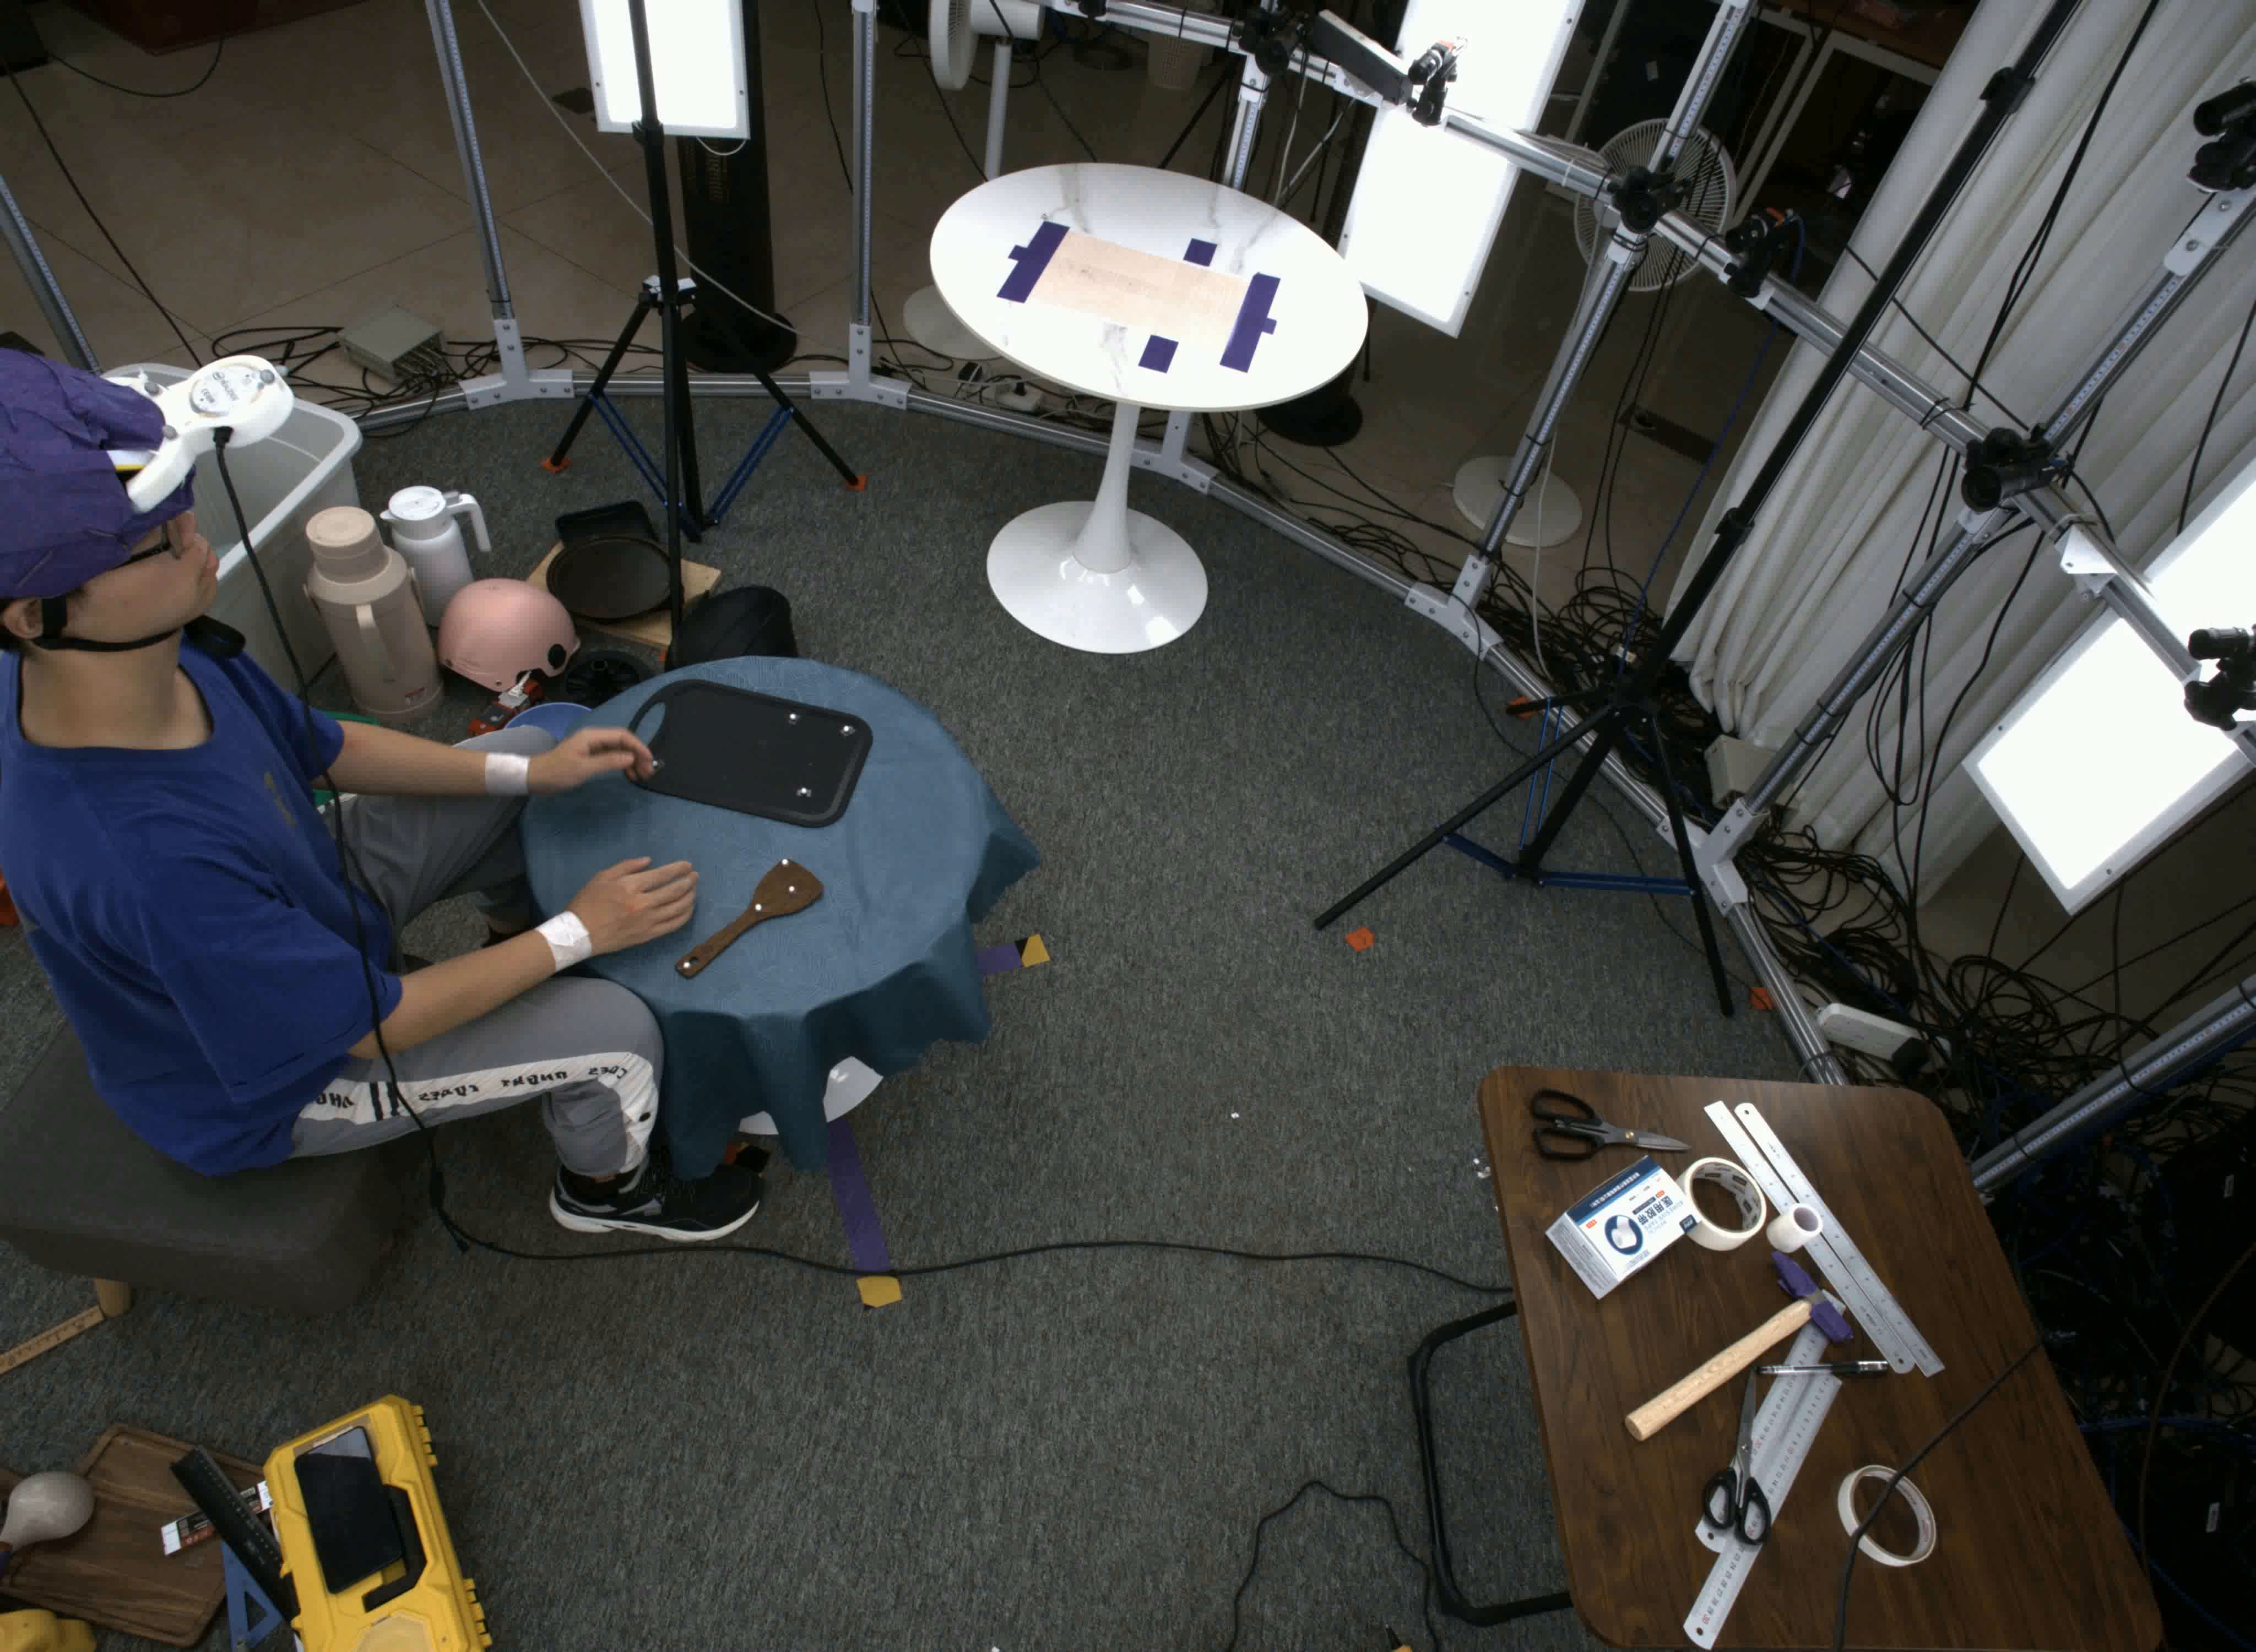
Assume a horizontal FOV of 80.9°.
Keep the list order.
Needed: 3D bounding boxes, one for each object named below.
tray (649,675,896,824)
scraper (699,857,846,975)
[{"bbox_3d":[-0.498,-0.112,1.794,0.323,0.010,0.208,15,52,-3],"label":"tray"},{"bbox_3d":[-0.454,0.115,1.636,0.074,0.011,0.211,38,55,16],"label":"scraper"}]
